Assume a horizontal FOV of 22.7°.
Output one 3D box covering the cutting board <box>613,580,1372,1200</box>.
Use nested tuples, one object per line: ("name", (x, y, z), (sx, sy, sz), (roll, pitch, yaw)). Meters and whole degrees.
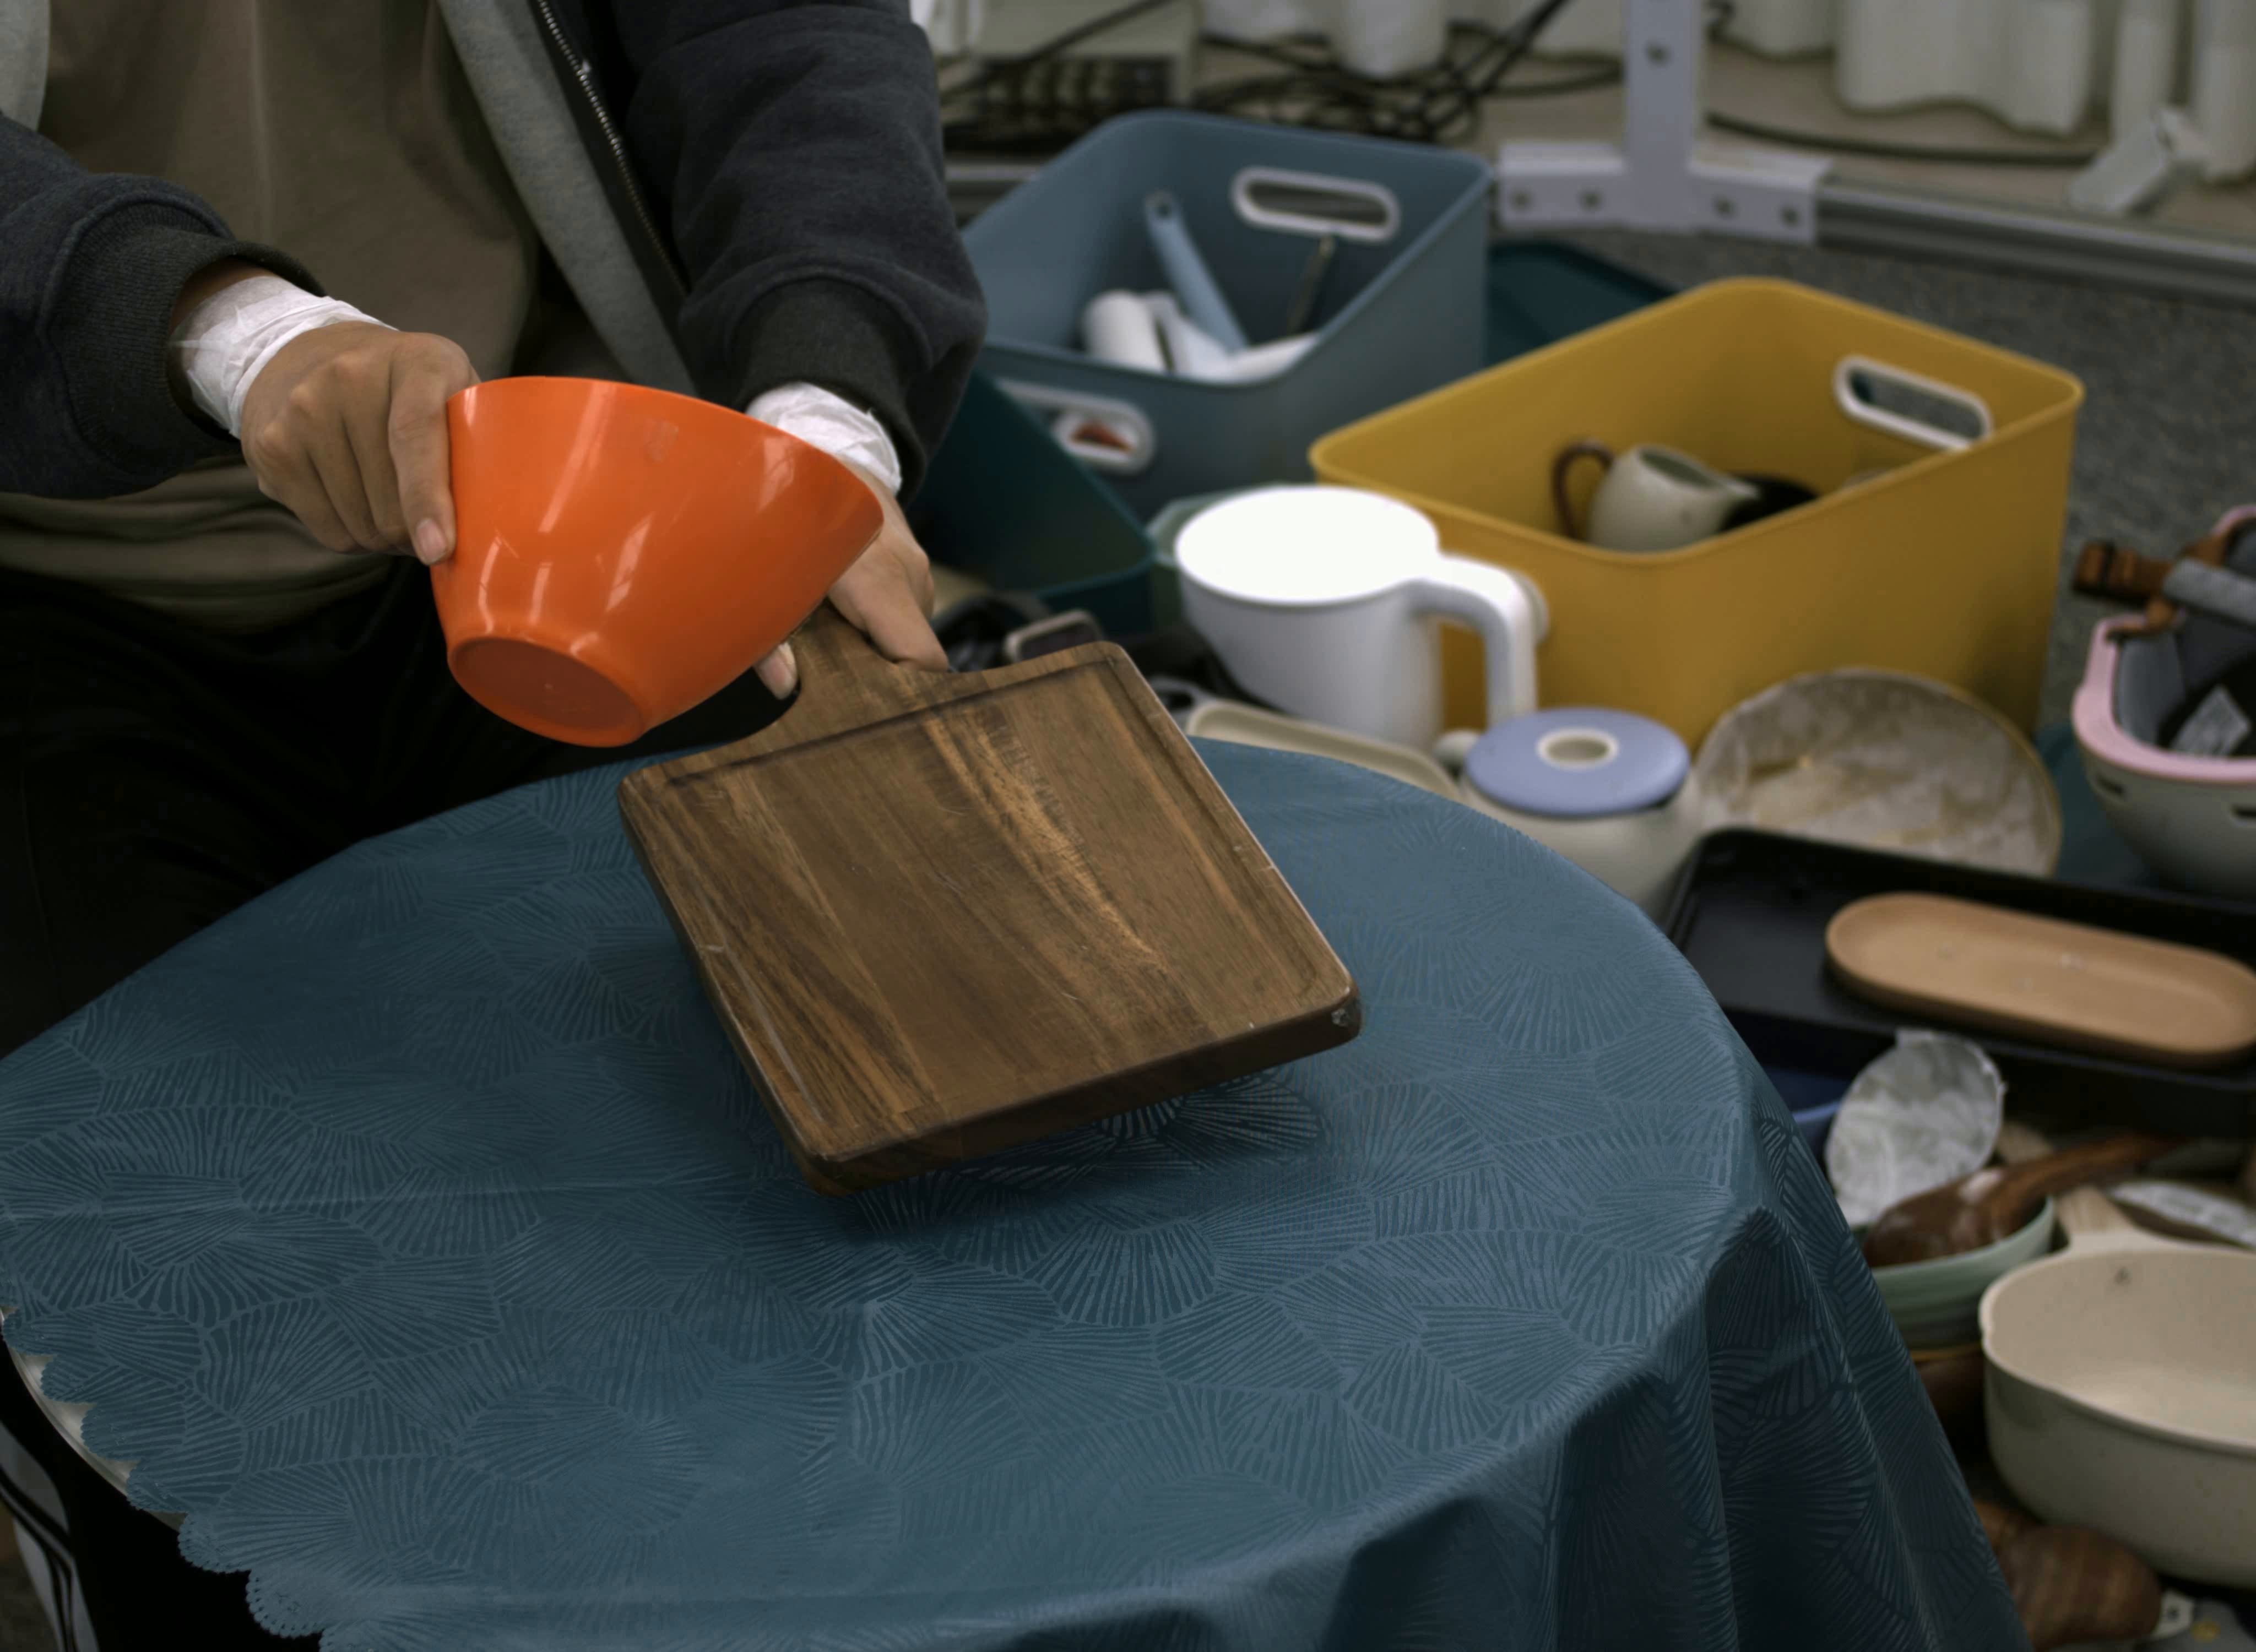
("cutting board", (-0.068, 0.002, 1.980), (0.201, 0.023, 0.356), (-16, 35, -14))

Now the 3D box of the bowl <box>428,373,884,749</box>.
("bowl", (-0.164, -0.080, 1.823), (0.147, 0.146, 0.106), (9, 63, 21))
